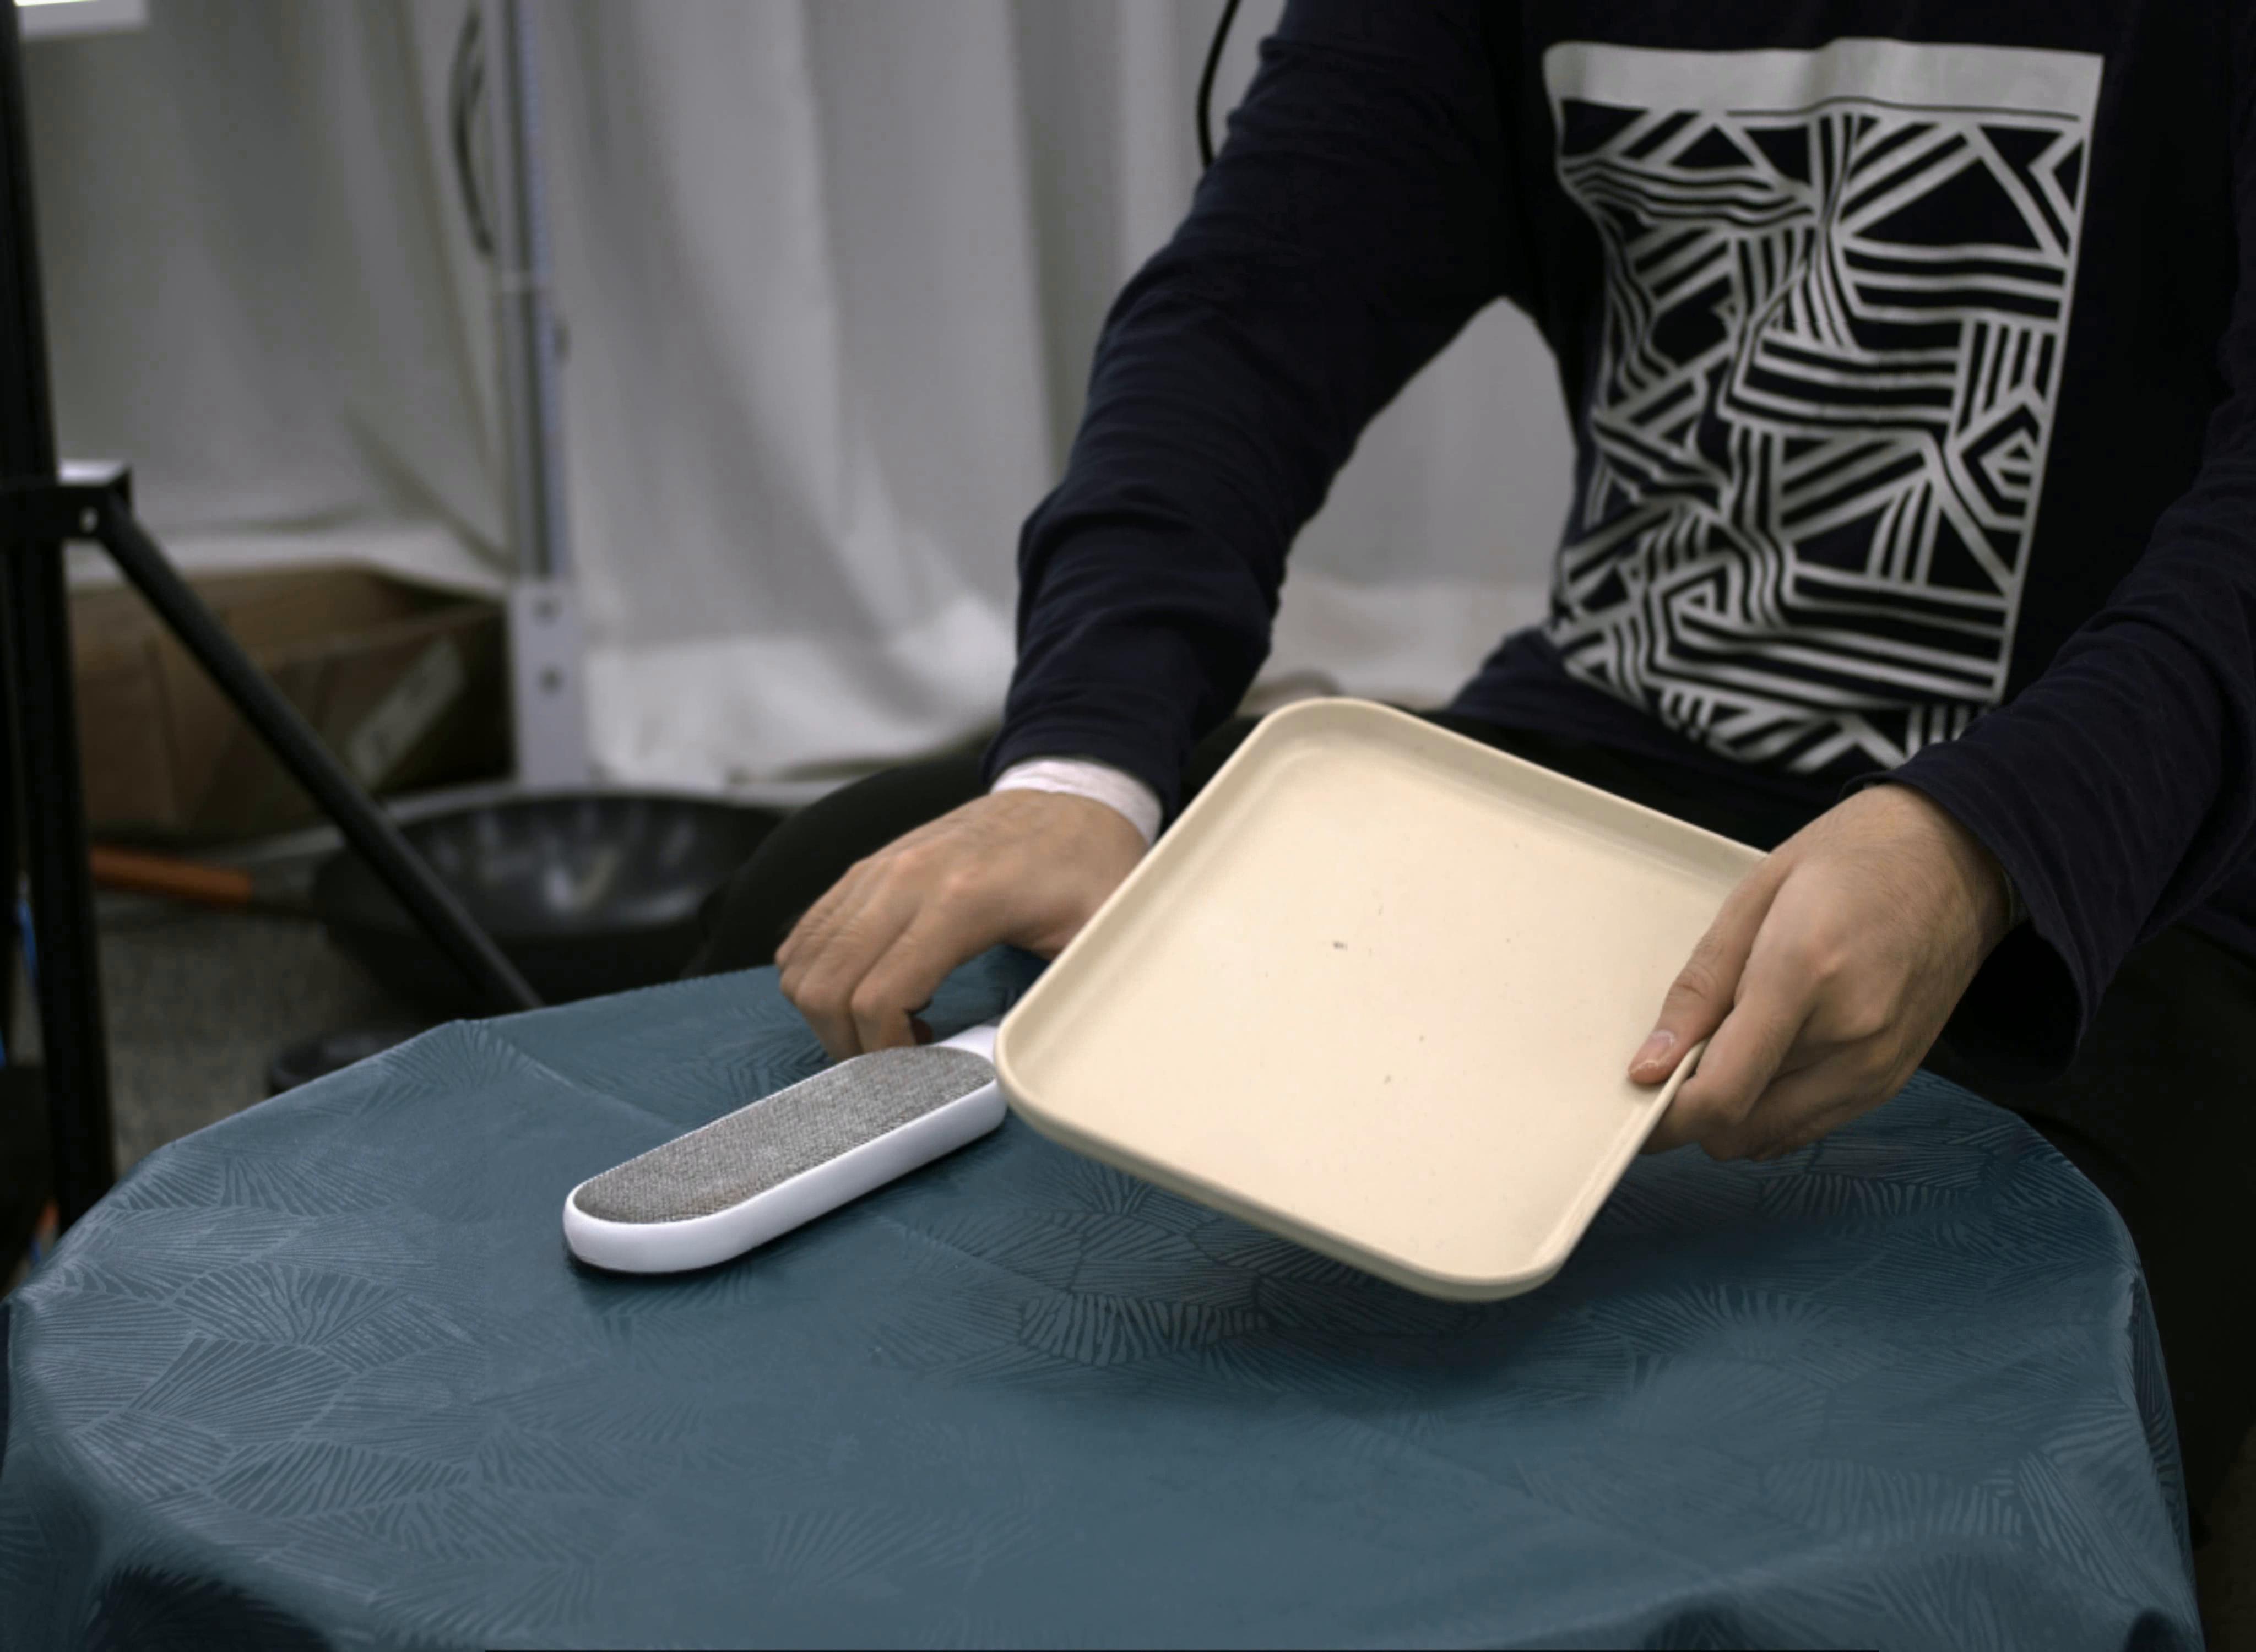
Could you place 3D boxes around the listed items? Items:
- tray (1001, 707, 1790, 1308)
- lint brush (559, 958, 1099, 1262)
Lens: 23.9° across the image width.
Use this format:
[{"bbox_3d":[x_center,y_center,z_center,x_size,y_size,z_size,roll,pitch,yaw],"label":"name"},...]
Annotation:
[{"bbox_3d":[0.079,0.049,1.500,0.173,0.017,0.237,19,37,17],"label":"tray"},{"bbox_3d":[-0.064,0.079,1.623,0.061,0.021,0.303,2,16,35],"label":"lint brush"}]
